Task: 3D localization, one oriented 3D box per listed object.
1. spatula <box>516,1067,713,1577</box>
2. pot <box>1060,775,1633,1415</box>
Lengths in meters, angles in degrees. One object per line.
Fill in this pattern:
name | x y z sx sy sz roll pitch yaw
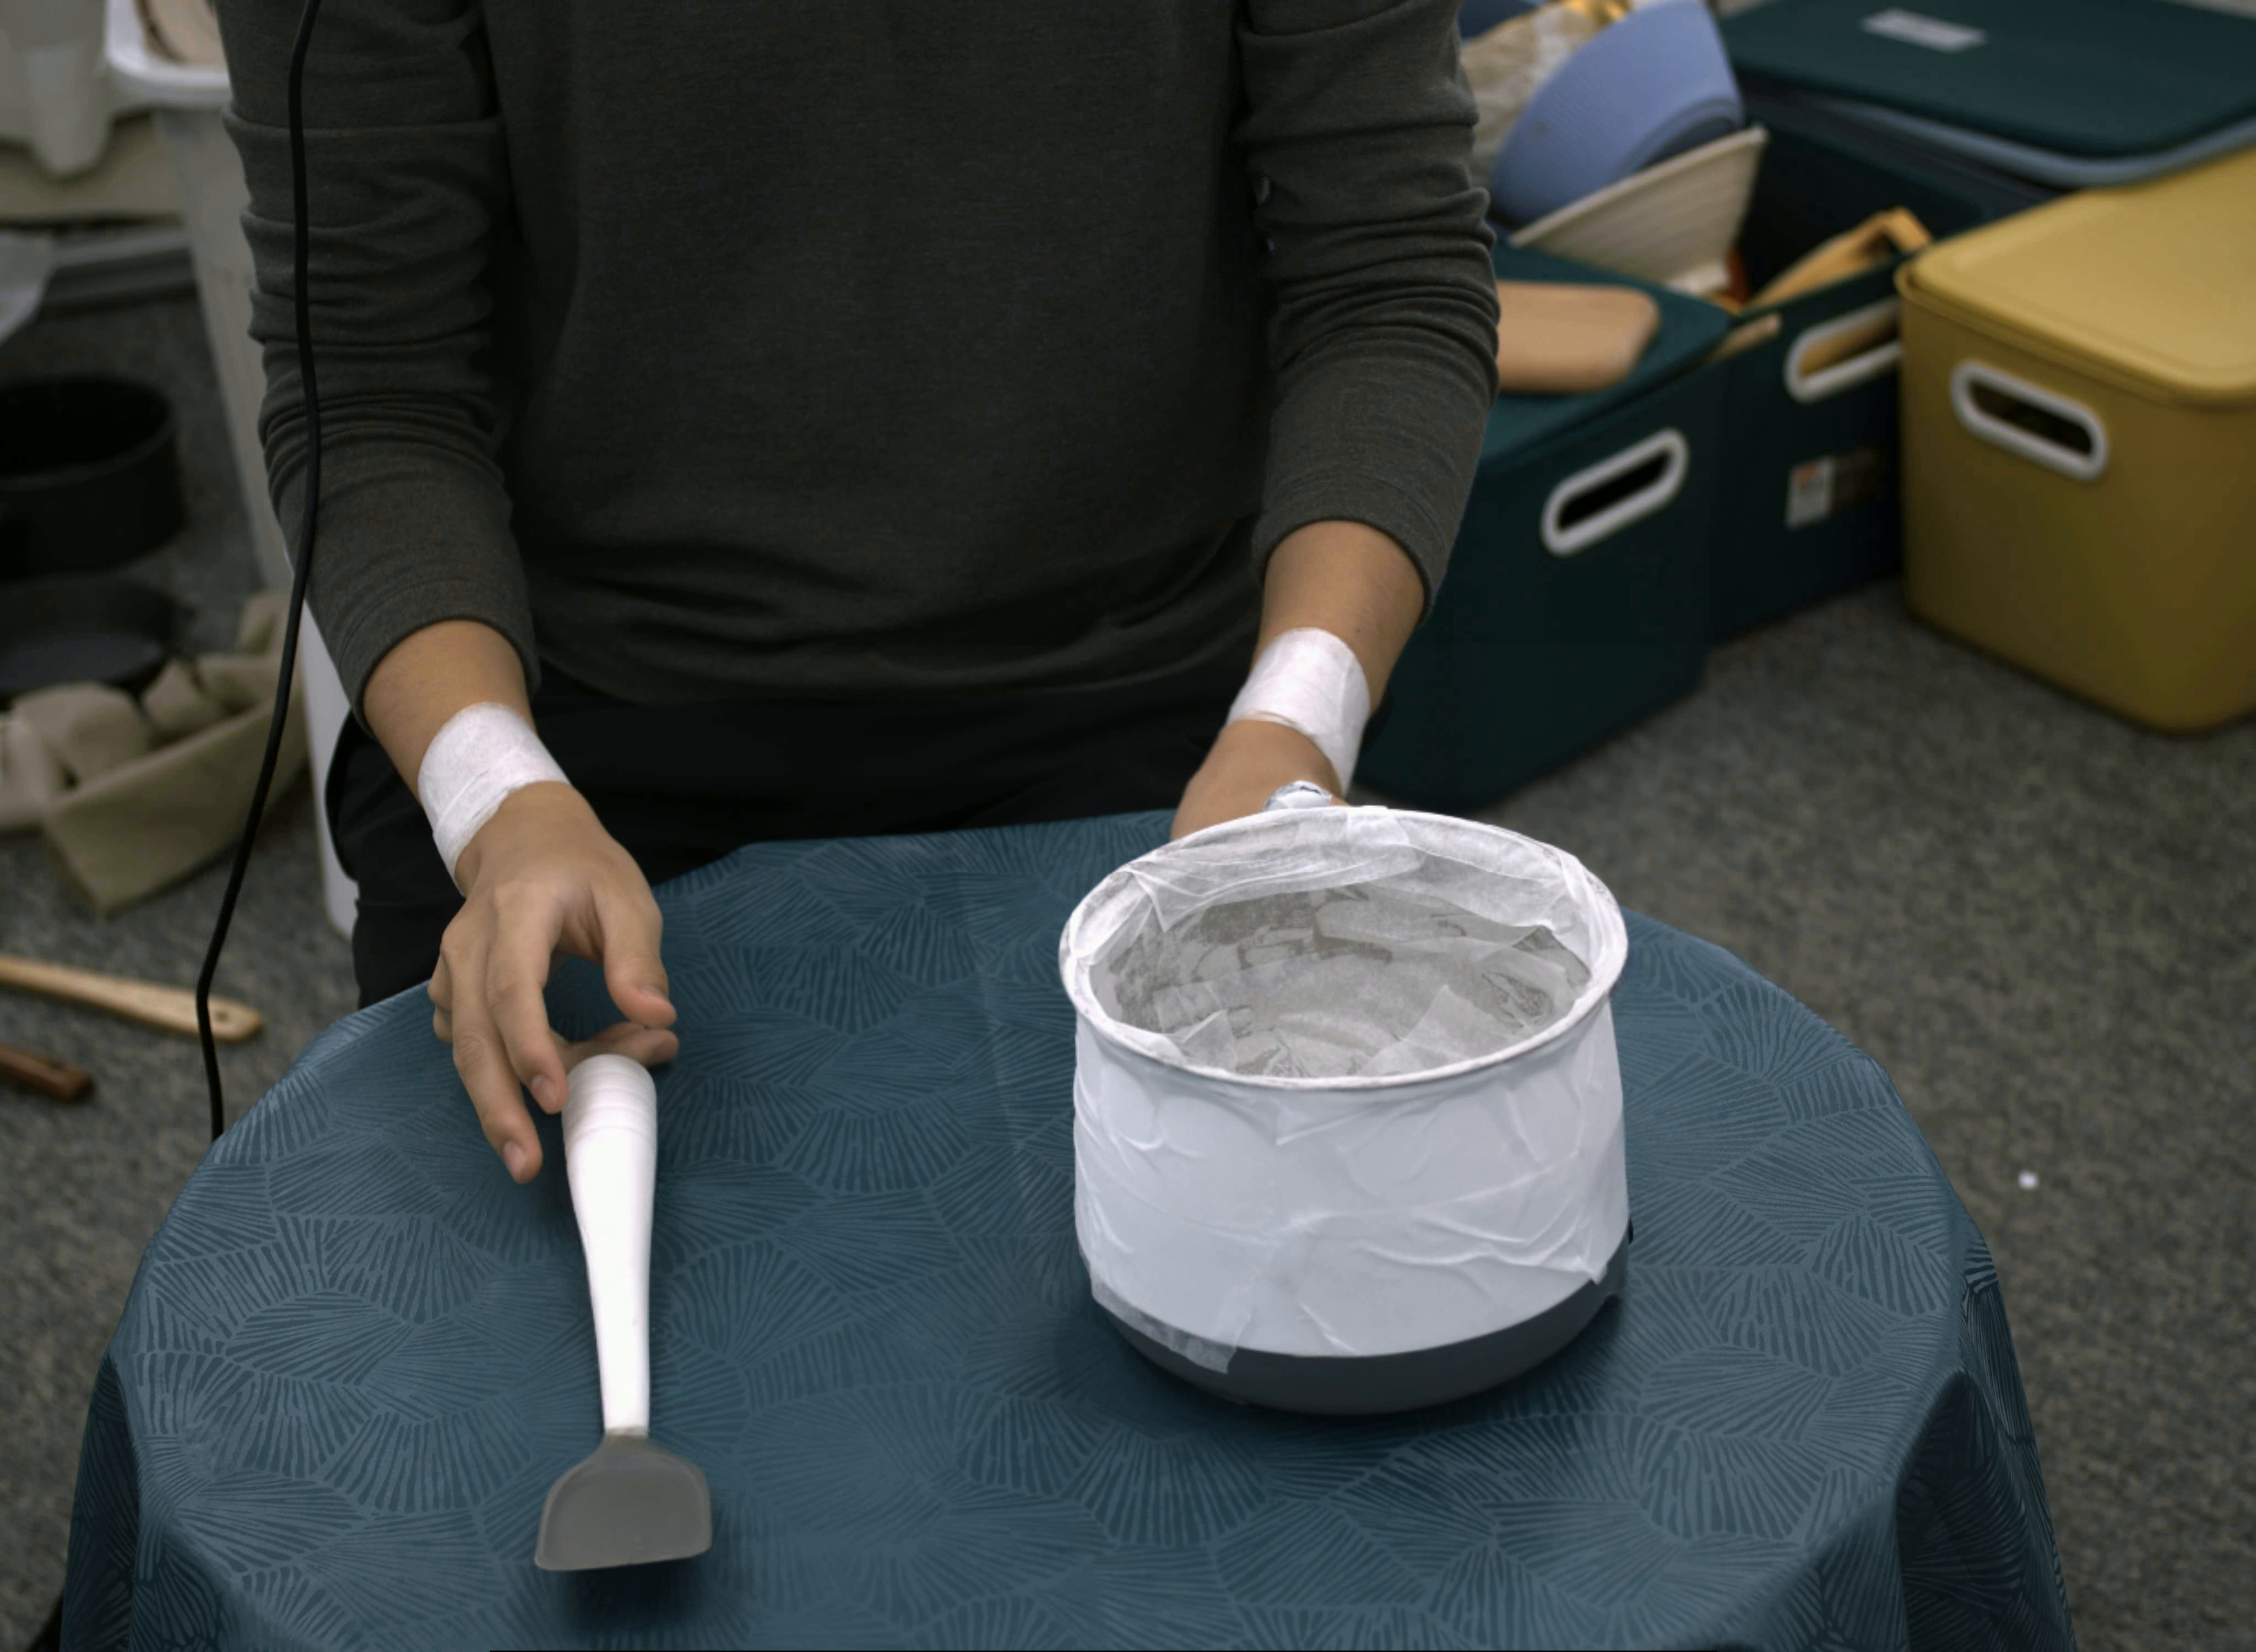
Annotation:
spatula | -0.162 0.160 1.767 0.058 0.032 0.291 -2 27 -5
pot | 0.066 0.078 1.792 0.178 0.135 0.237 -5 27 -5
